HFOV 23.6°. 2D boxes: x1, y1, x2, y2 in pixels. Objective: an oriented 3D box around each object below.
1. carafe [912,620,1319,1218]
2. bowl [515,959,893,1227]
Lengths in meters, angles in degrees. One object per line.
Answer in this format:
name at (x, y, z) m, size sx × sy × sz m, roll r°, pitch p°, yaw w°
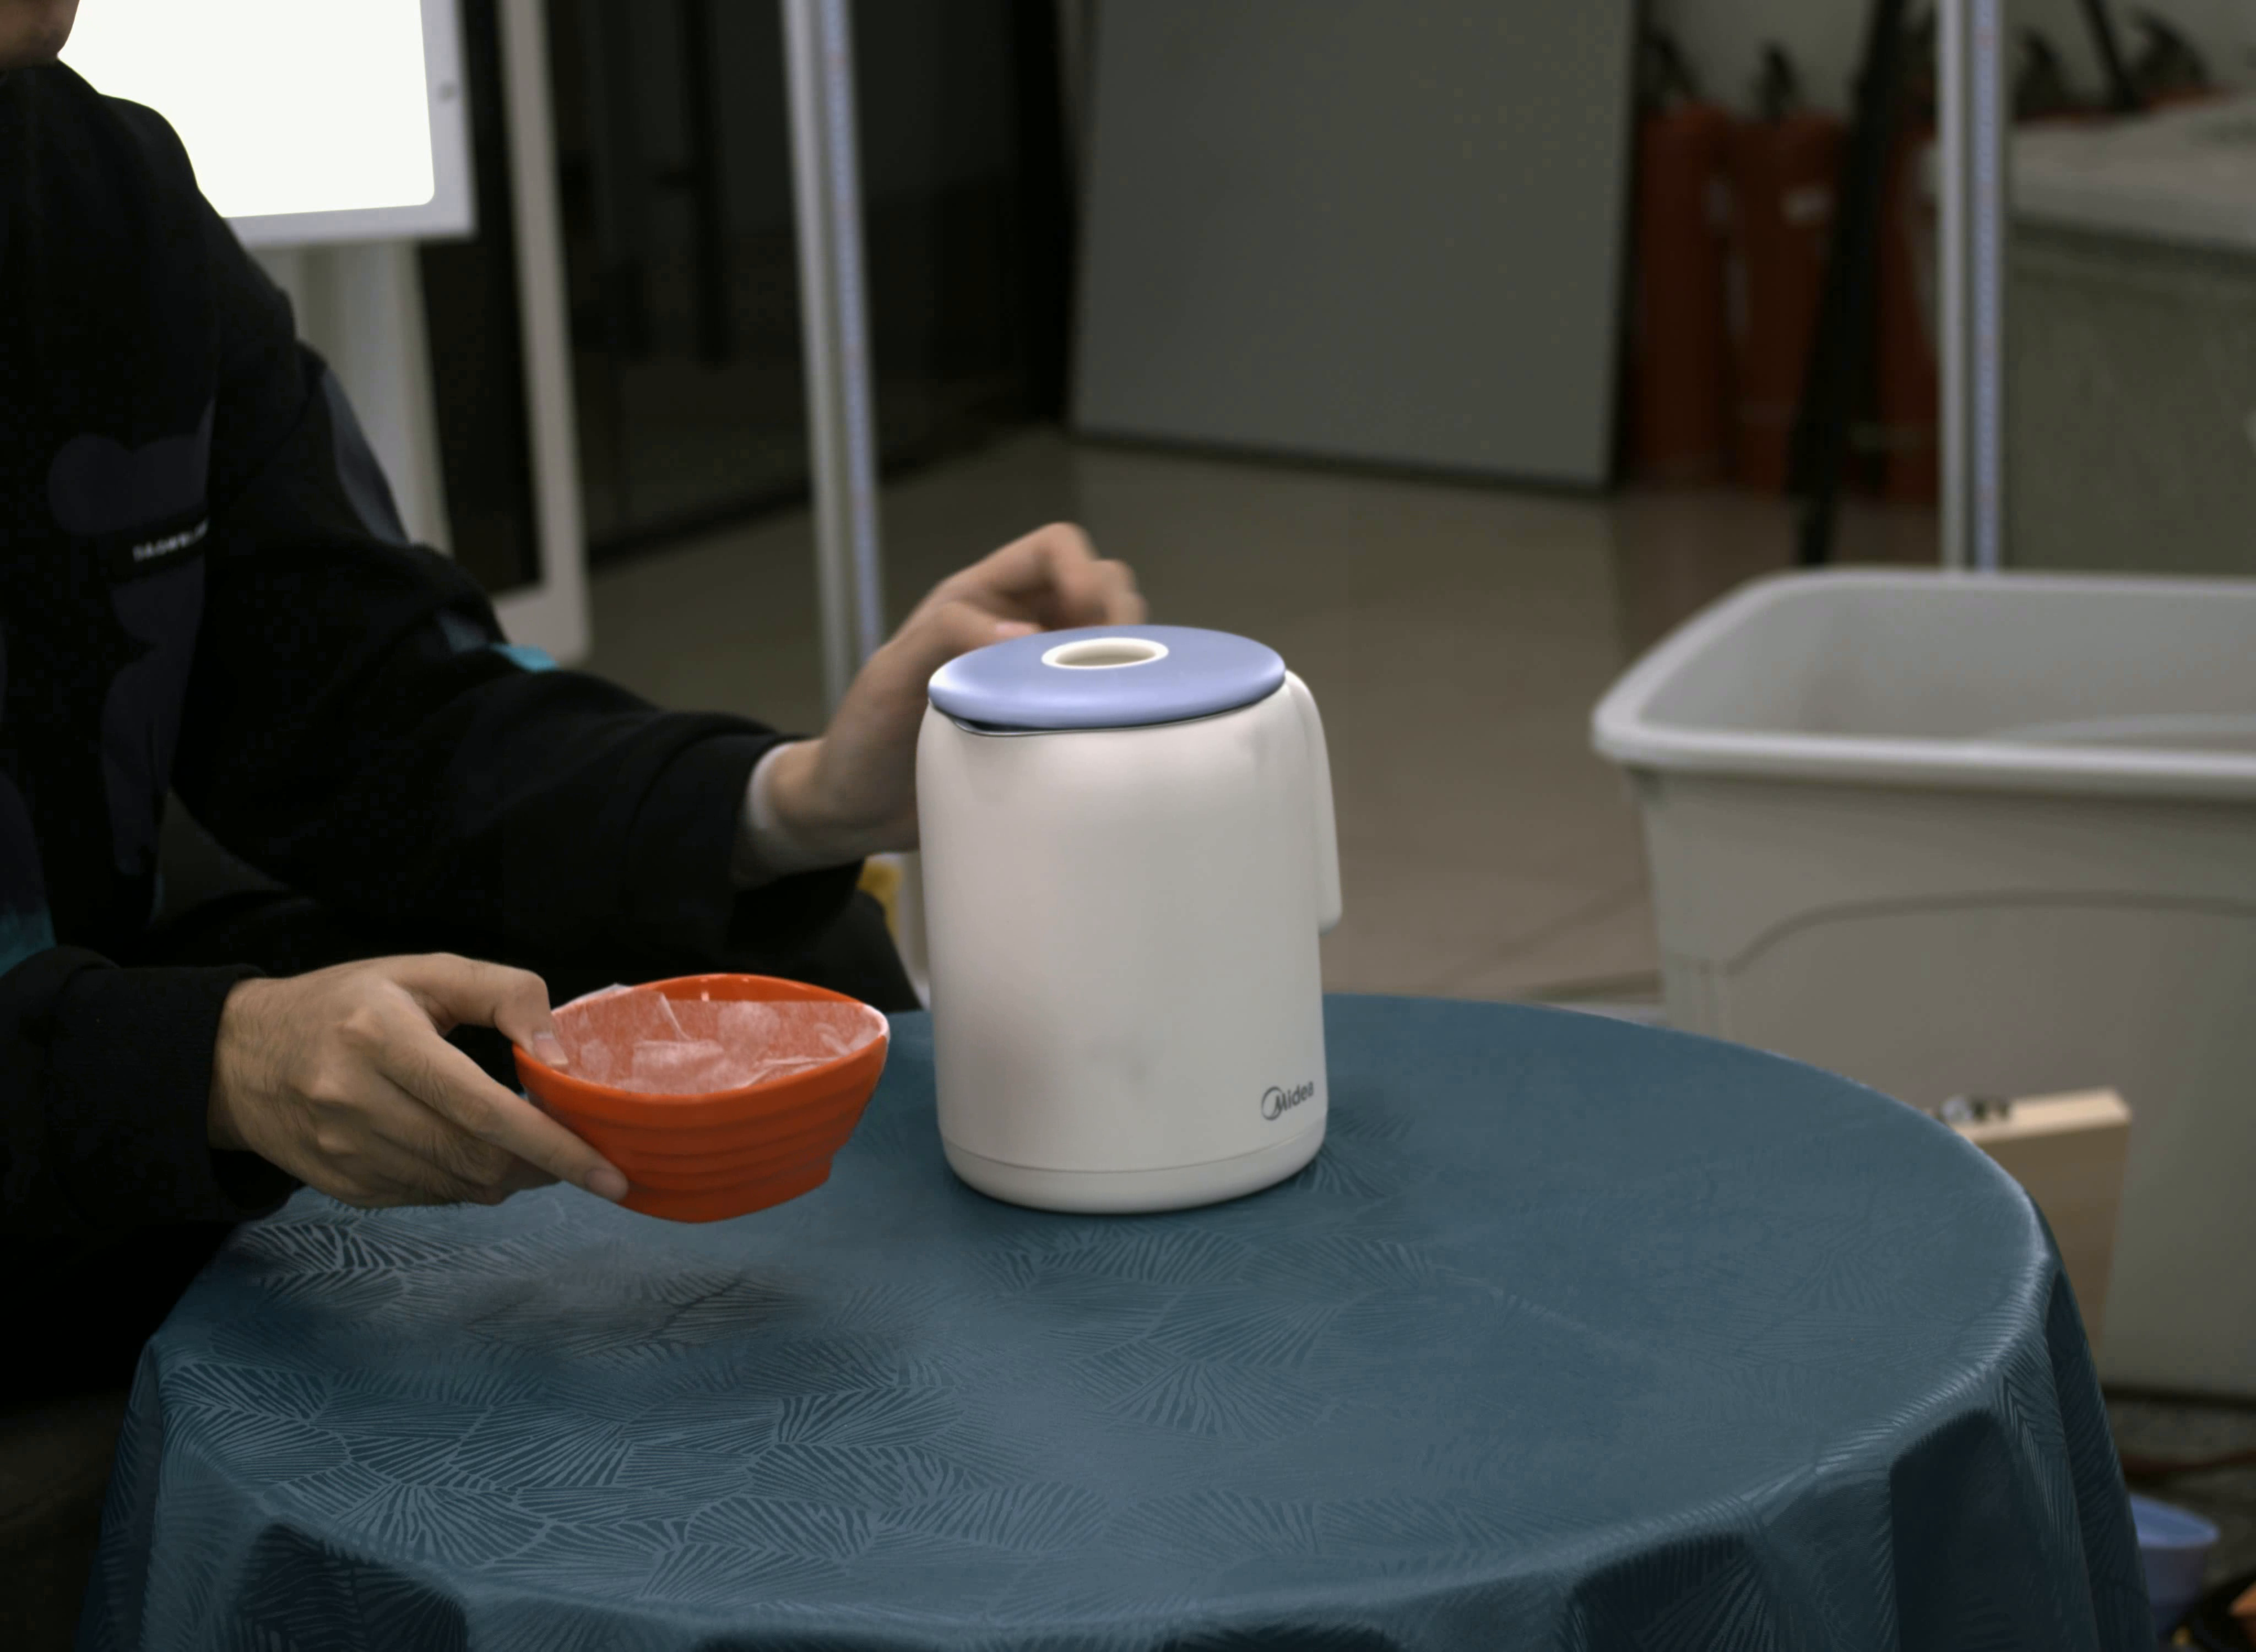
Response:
carafe at (0.010, 0.025, 1.802) m, size 0.133 × 0.184 × 0.187 m, roll 7°, pitch 15°, yaw 35°
bowl at (-0.131, 0.086, 1.685) m, size 0.117 × 0.052 × 0.119 m, roll -3°, pitch 20°, yaw 0°
